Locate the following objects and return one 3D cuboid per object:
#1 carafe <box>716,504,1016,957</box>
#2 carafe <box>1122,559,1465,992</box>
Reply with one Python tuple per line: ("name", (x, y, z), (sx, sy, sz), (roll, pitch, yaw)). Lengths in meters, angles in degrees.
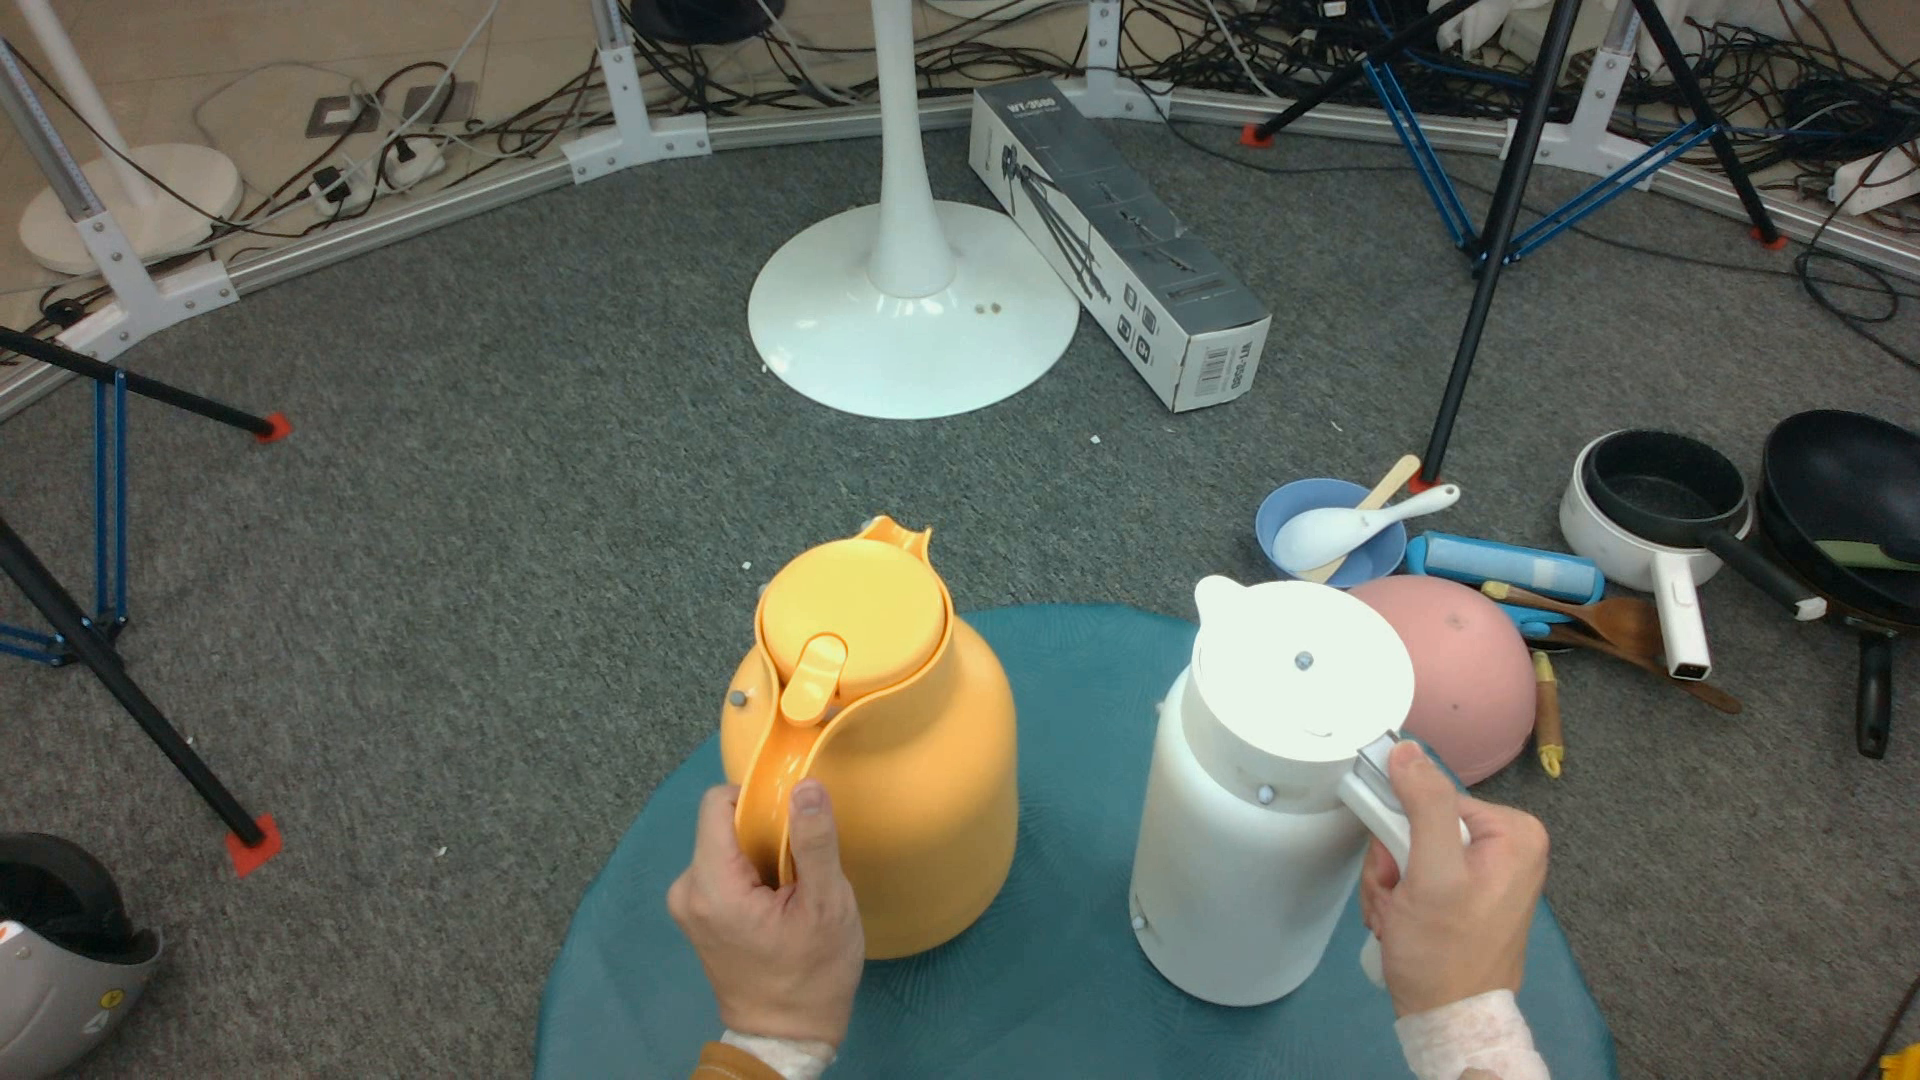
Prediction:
("carafe", (-0.060, 0.120, 0.742), (0.163, 0.259, 0.203), (16, 50, 17))
("carafe", (0.164, 0.145, 0.715), (0.124, 0.267, 0.173), (-26, 56, -22))
